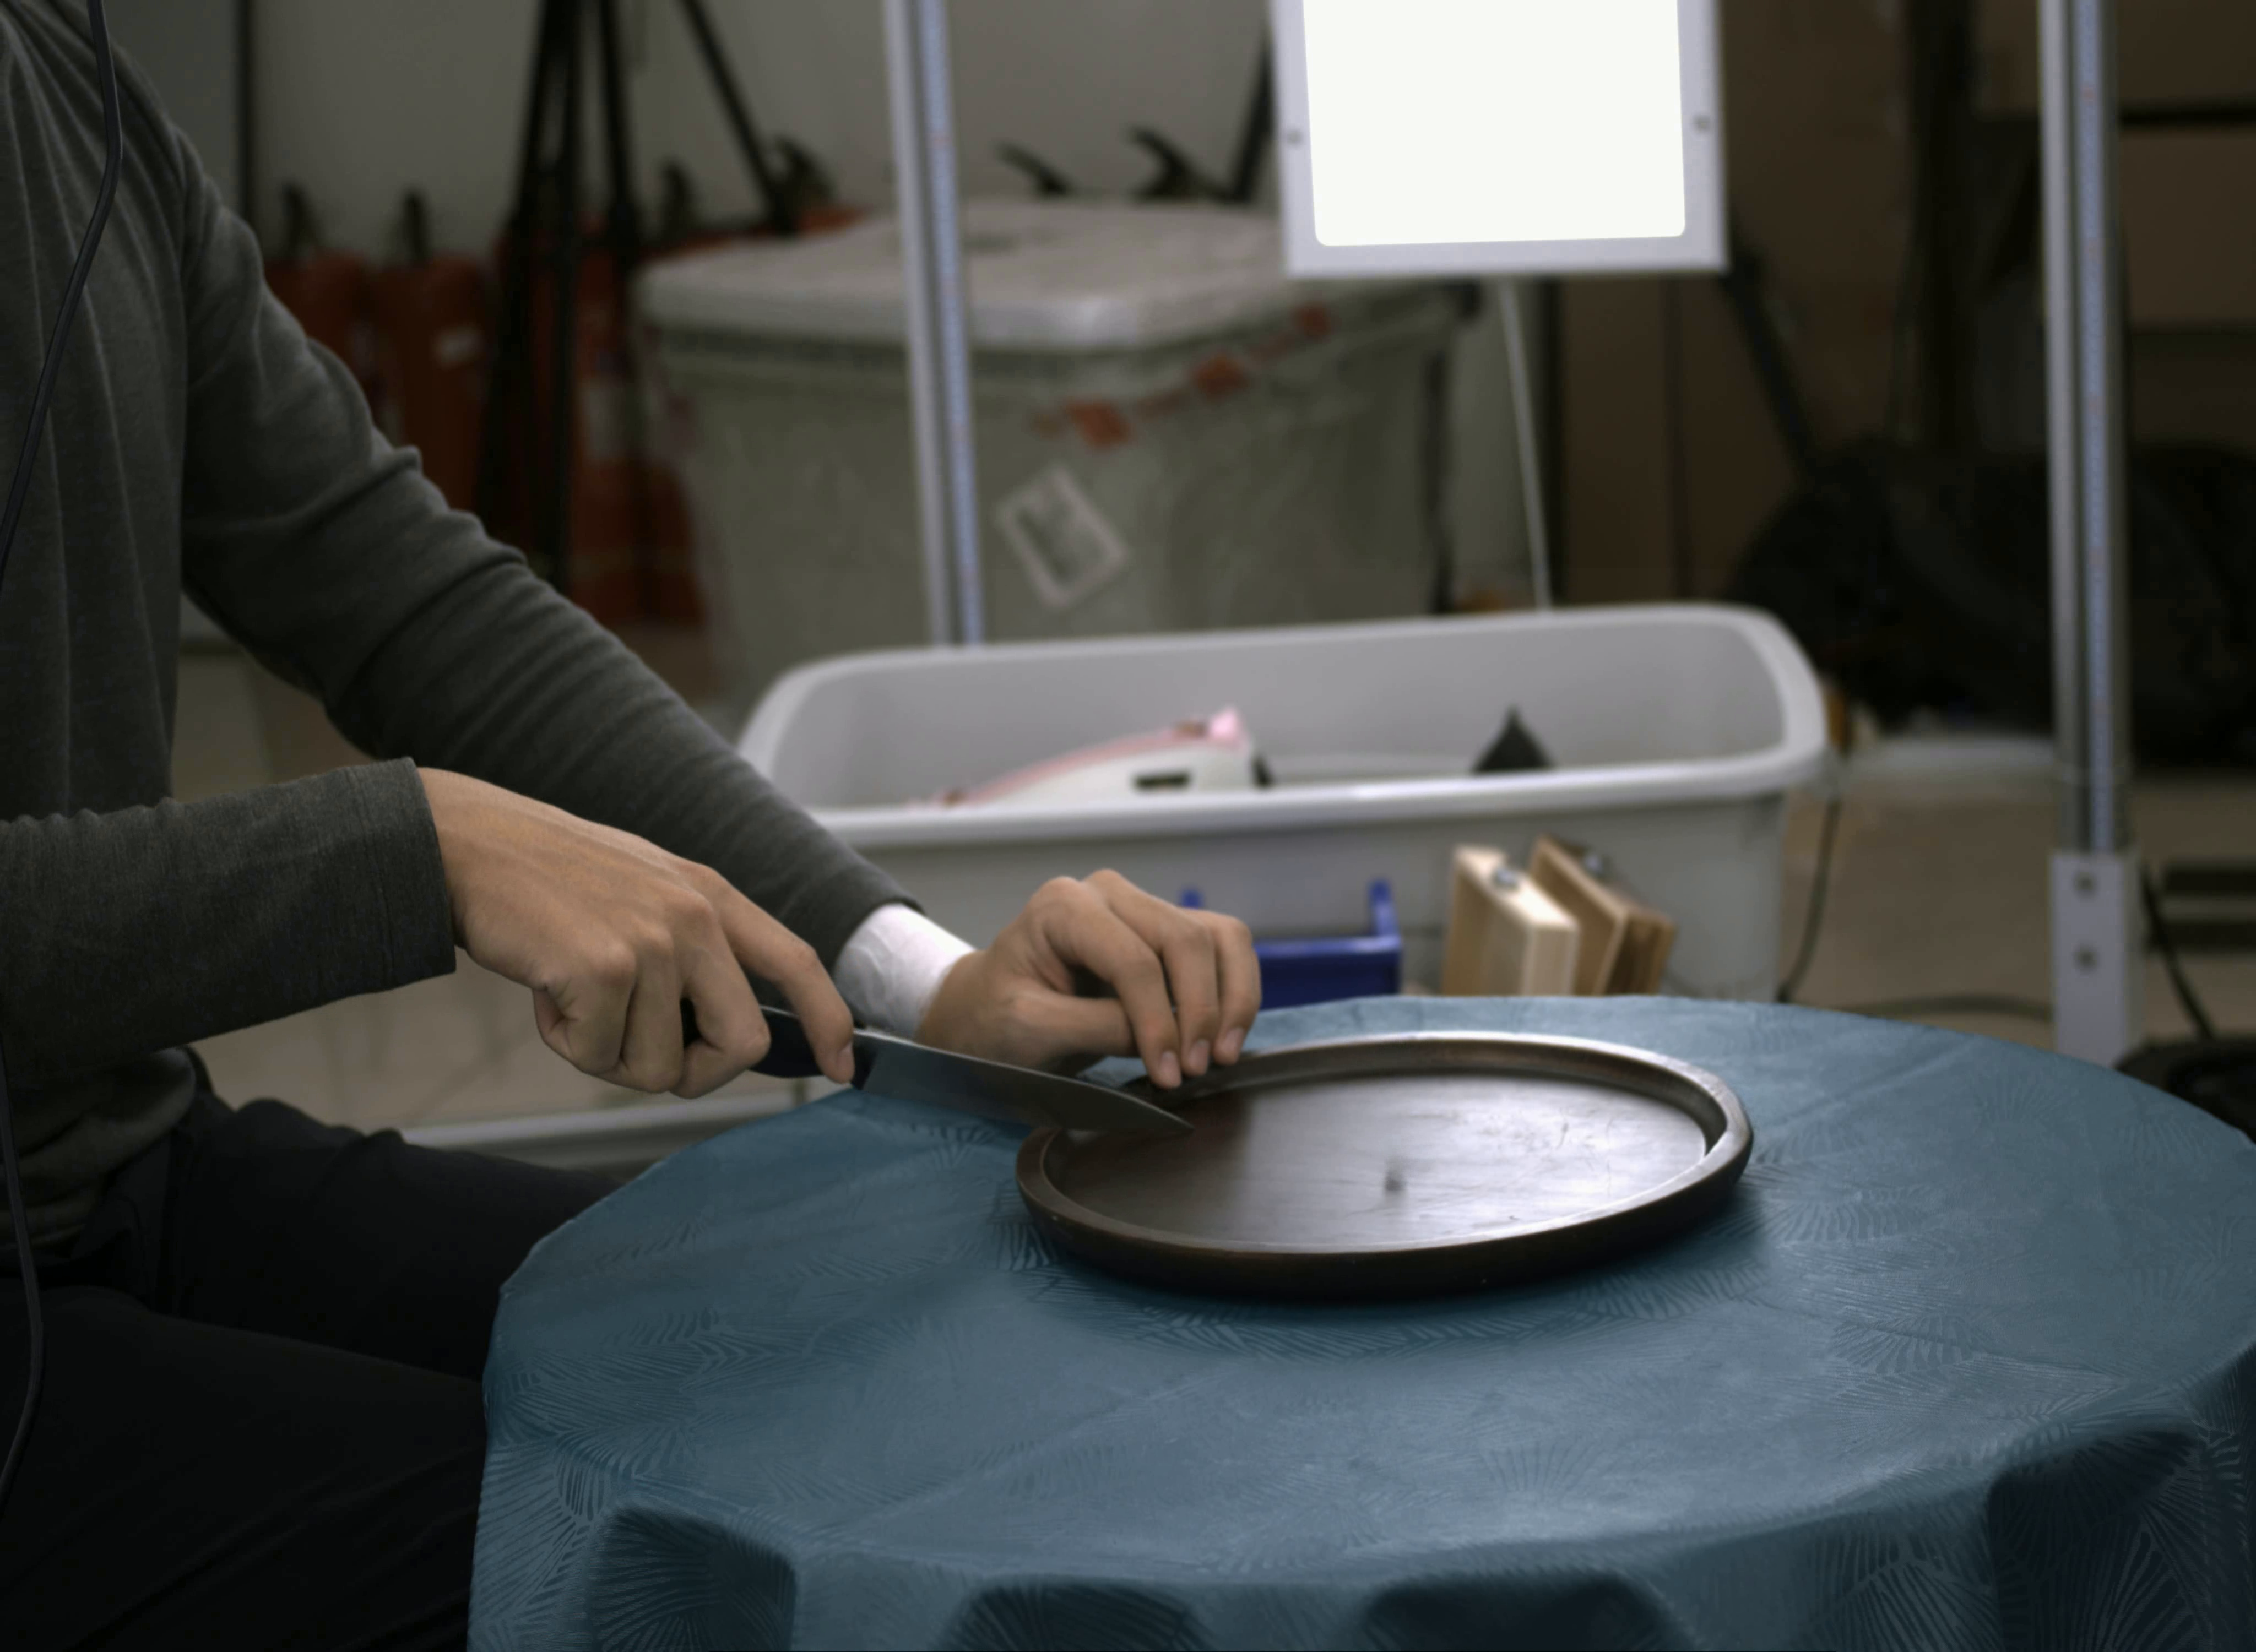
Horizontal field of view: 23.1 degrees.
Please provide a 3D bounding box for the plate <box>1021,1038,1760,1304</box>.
[{"bbox_3d":[0.089,0.115,1.871,0.254,0.029,0.254,-4,13,0],"label":"plate"}]

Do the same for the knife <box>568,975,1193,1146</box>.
[{"bbox_3d":[-0.079,0.082,1.881,0.234,0.025,0.016,14,23,-23],"label":"knife"}]
